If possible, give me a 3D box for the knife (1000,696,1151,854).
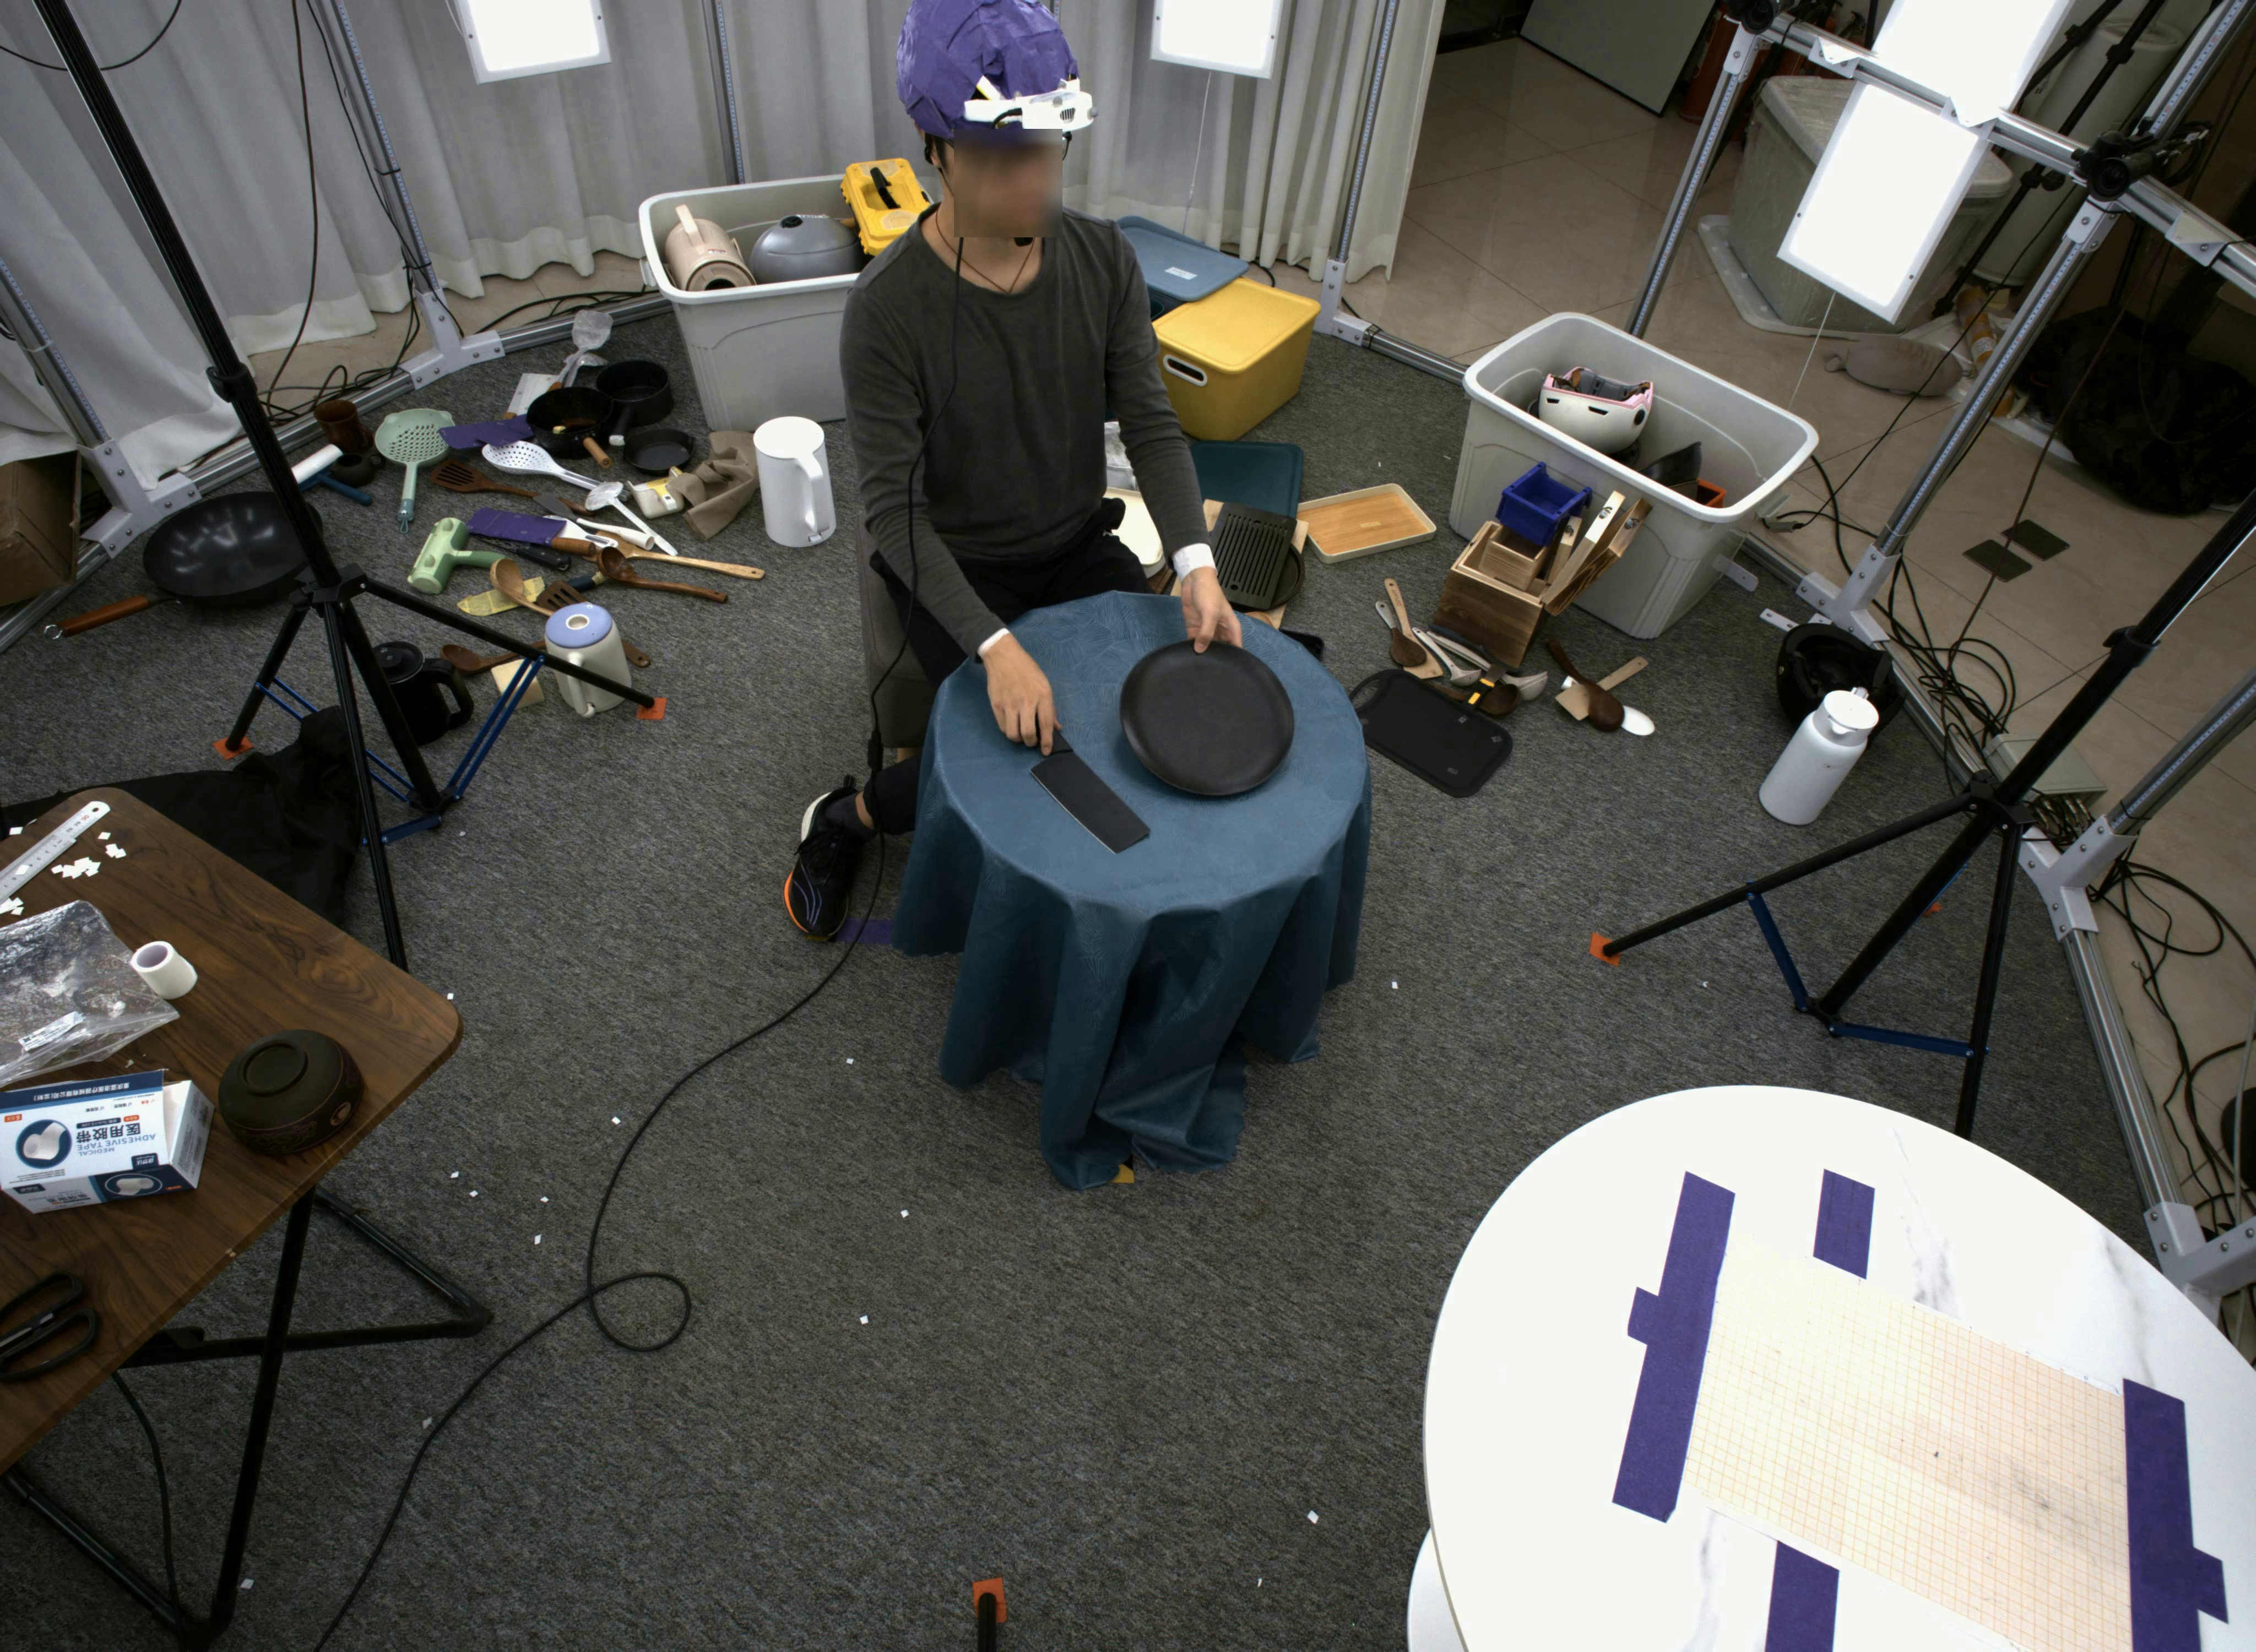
[{"bbox_3d":[-0.083,-0.074,1.717,0.081,0.020,0.308,-27,57,-20],"label":"knife"}]

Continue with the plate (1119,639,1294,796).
[{"bbox_3d":[0.107,-0.147,1.756,0.244,0.023,0.249,3,64,-6],"label":"plate"}]
